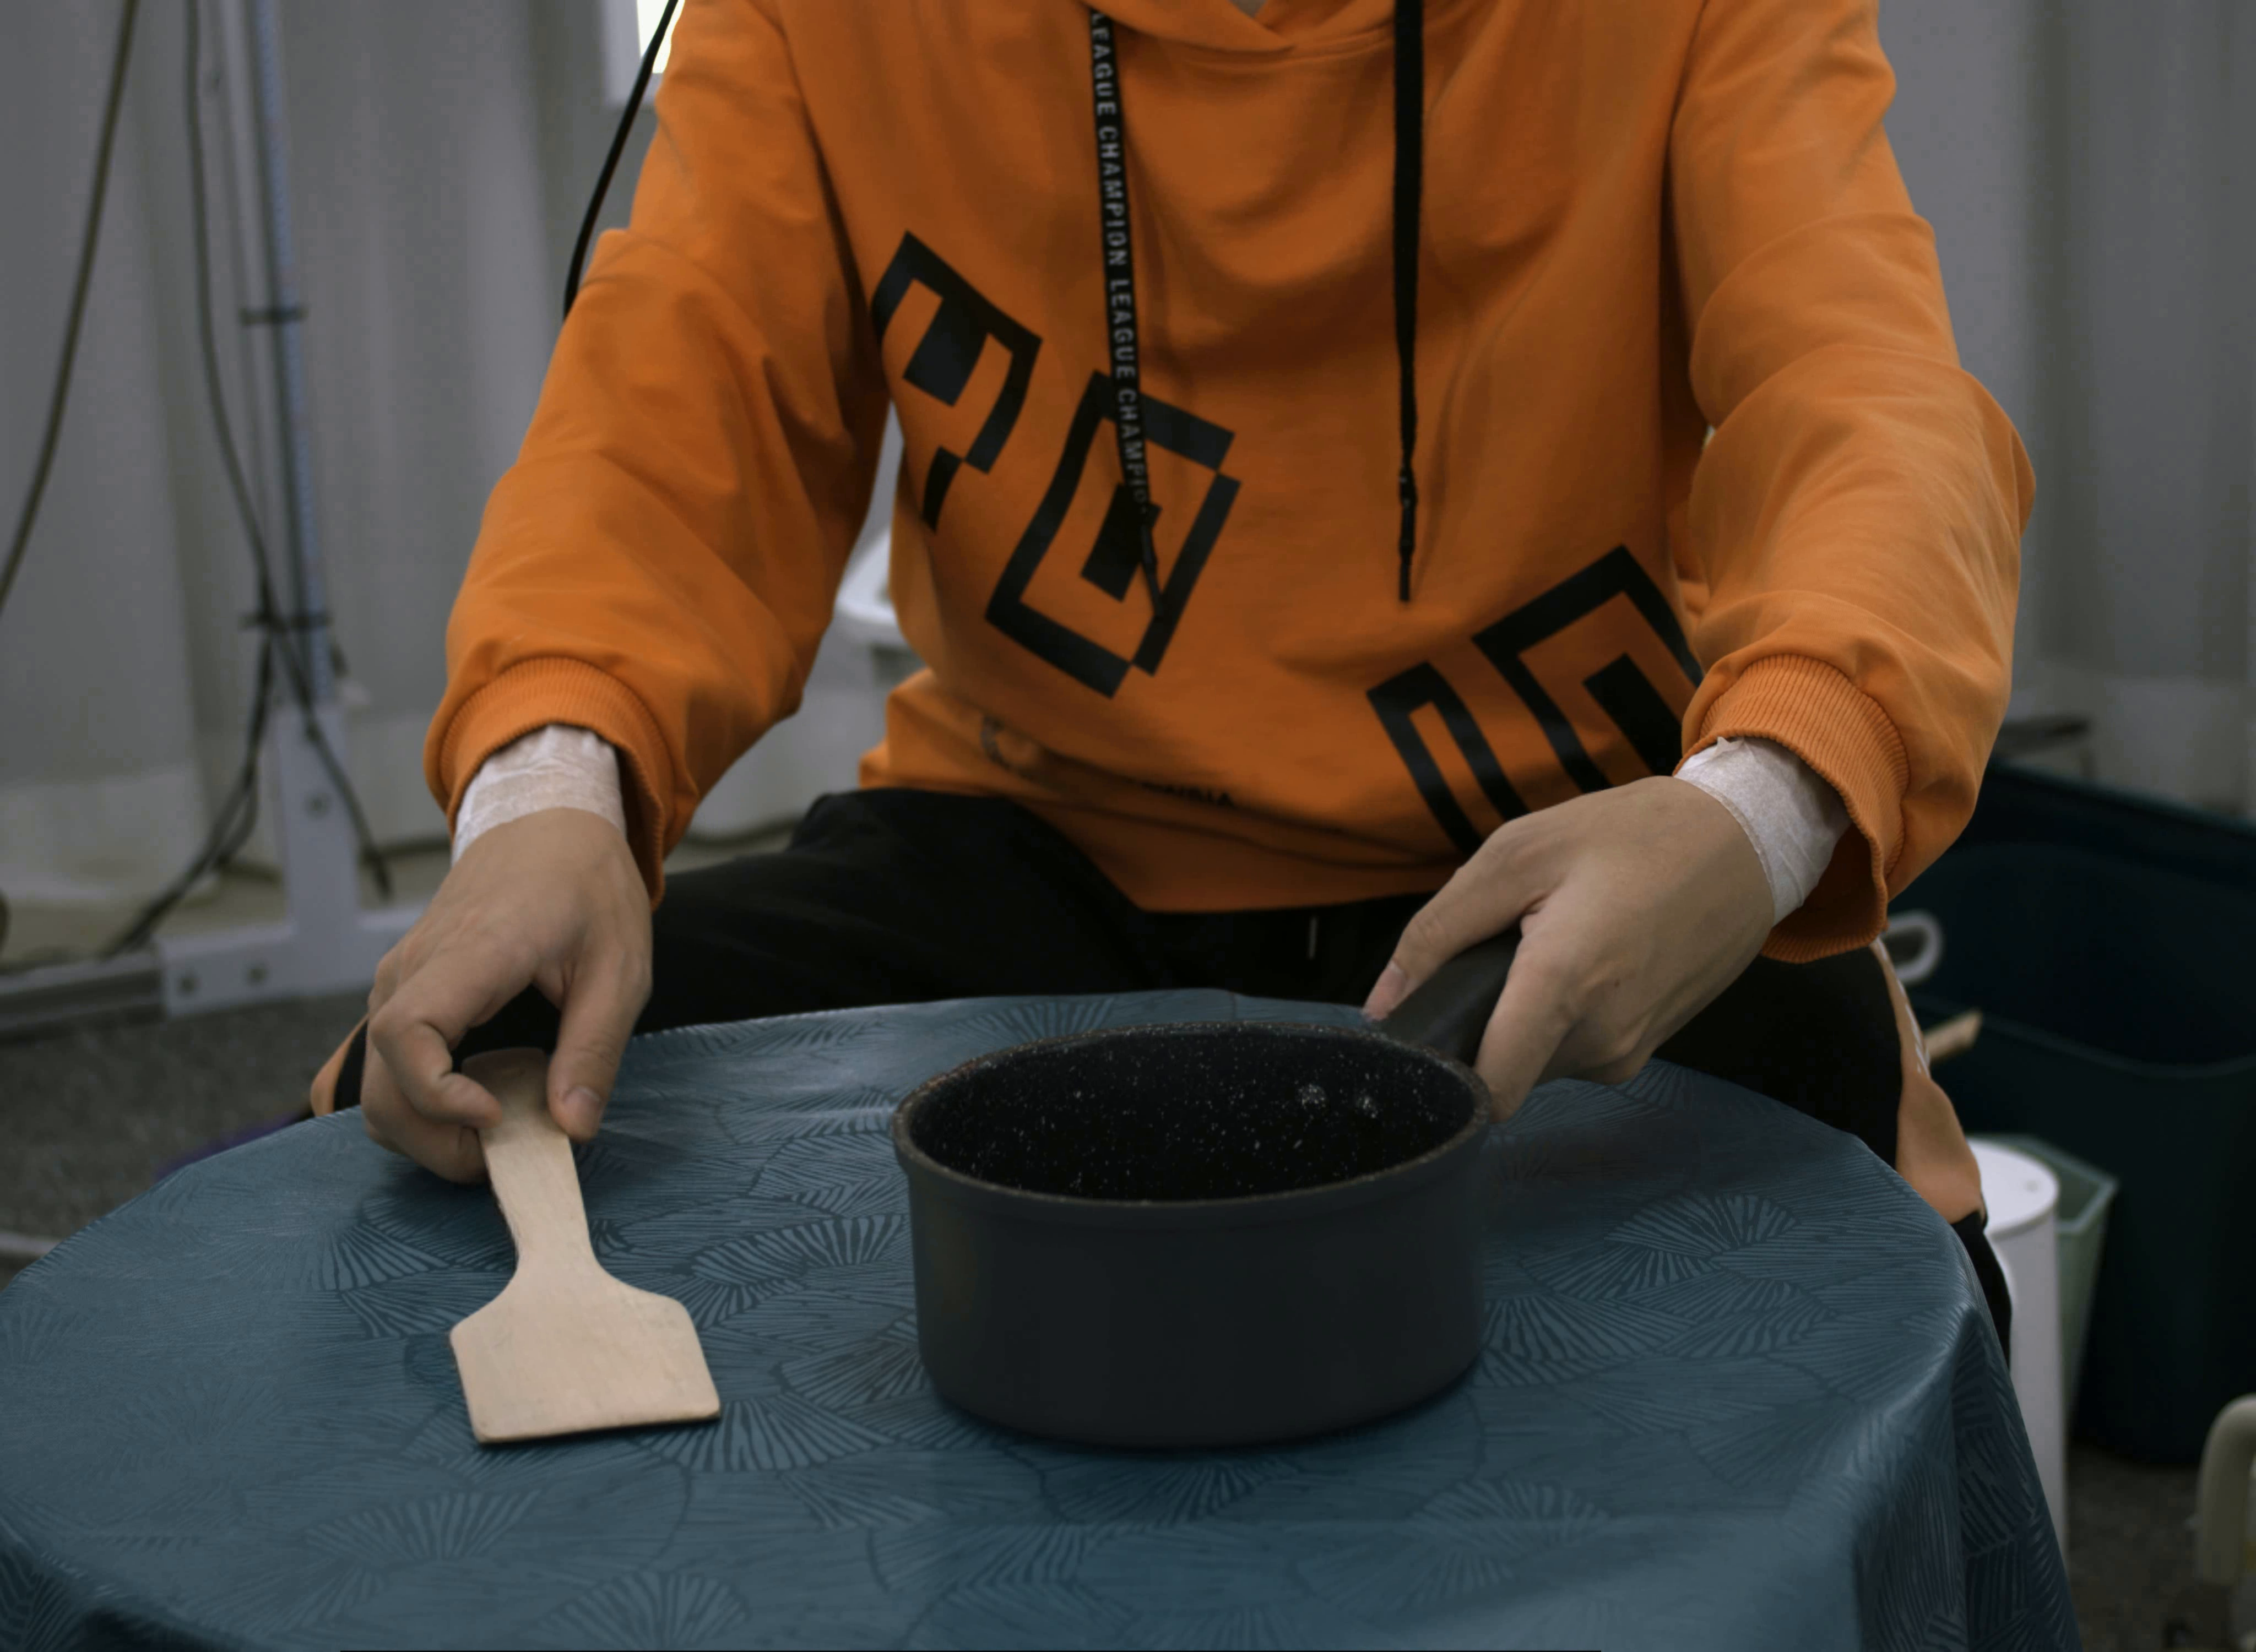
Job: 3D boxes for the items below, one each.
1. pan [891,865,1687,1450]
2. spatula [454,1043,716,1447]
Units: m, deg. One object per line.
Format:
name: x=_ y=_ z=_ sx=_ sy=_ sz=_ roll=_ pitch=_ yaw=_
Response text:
pan: x=0.067 y=0.094 z=1.619 sx=0.173 sy=0.086 sz=0.329 roll=9 pitch=20 yaw=36
spatula: x=-0.177 y=0.123 z=1.667 sx=0.072 sy=0.010 sz=0.296 roll=-8 pitch=20 yaw=-9
